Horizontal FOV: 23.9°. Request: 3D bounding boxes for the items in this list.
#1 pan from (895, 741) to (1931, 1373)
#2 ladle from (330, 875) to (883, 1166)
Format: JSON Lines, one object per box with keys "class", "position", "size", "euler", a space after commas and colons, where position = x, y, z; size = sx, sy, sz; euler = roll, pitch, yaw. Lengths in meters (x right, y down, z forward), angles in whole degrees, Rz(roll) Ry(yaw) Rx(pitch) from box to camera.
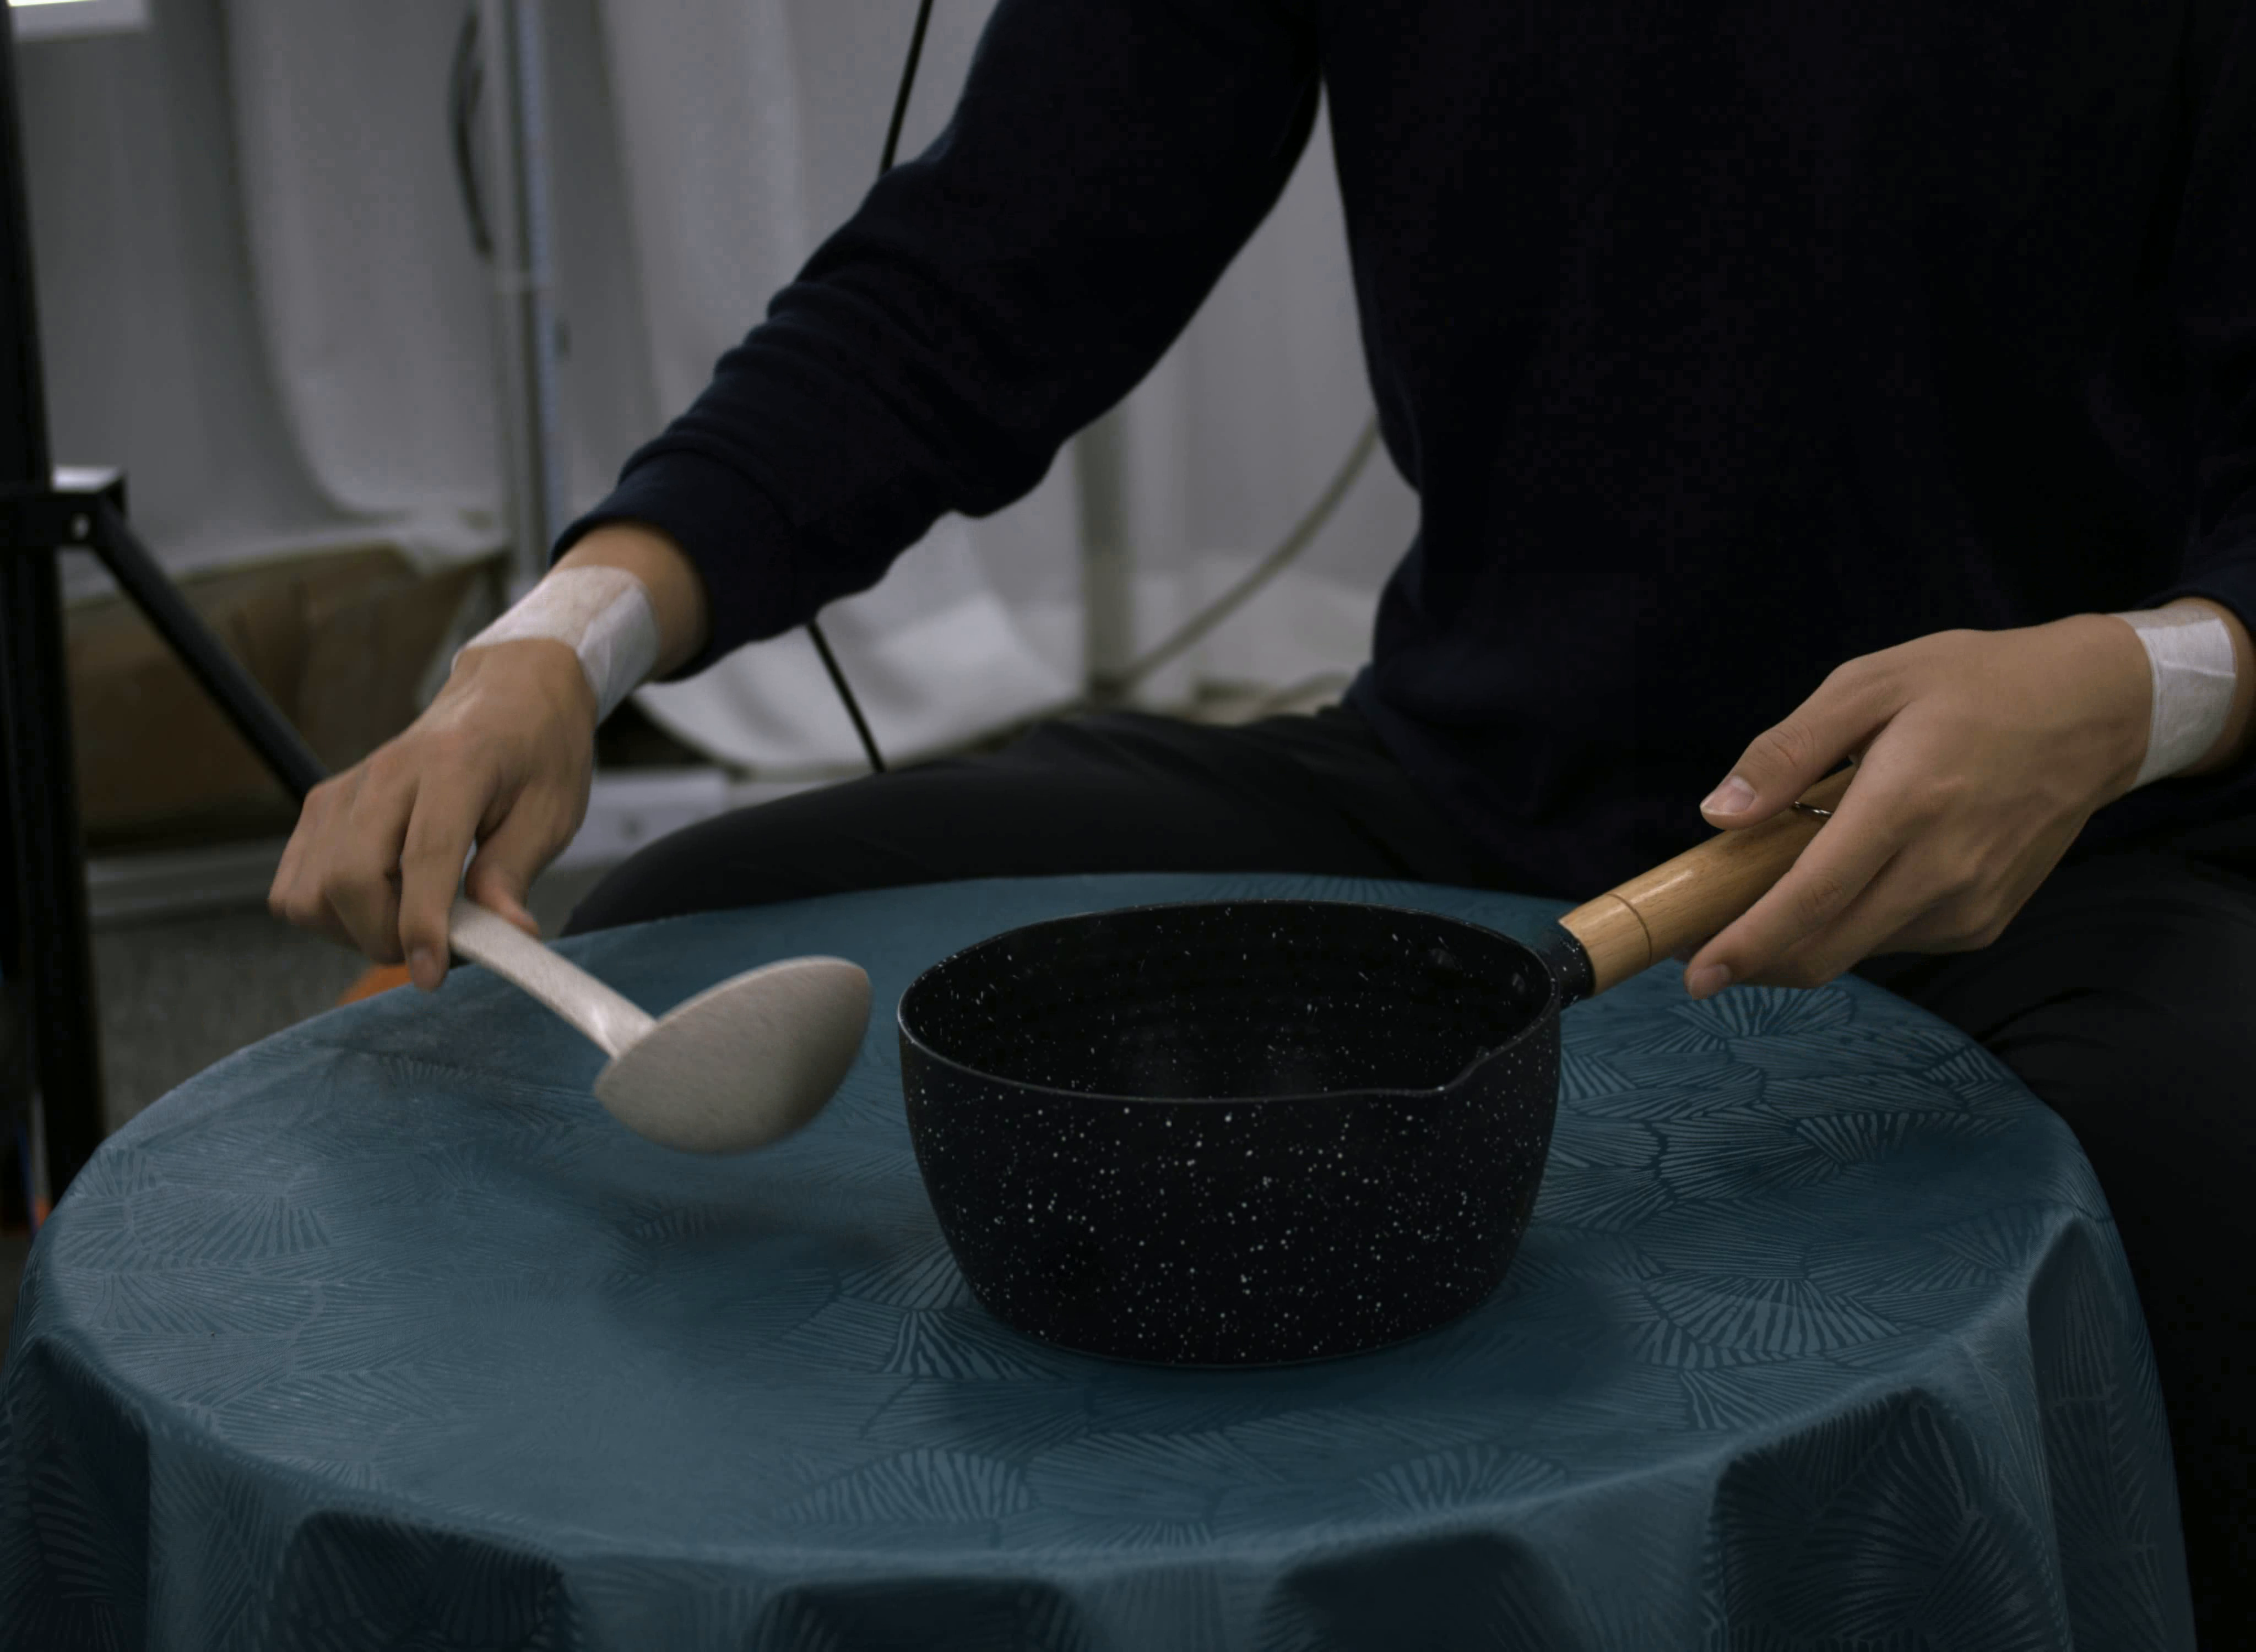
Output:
{"class": "pan", "position": [0.094, 0.060, 1.512], "size": [0.335, 0.108, 0.212], "euler": [-14, 18, -31]}
{"class": "ladle", "position": [-0.173, 0.032, 1.621], "size": [0.087, 0.069, 0.281], "euler": [-13, 26, -32]}
